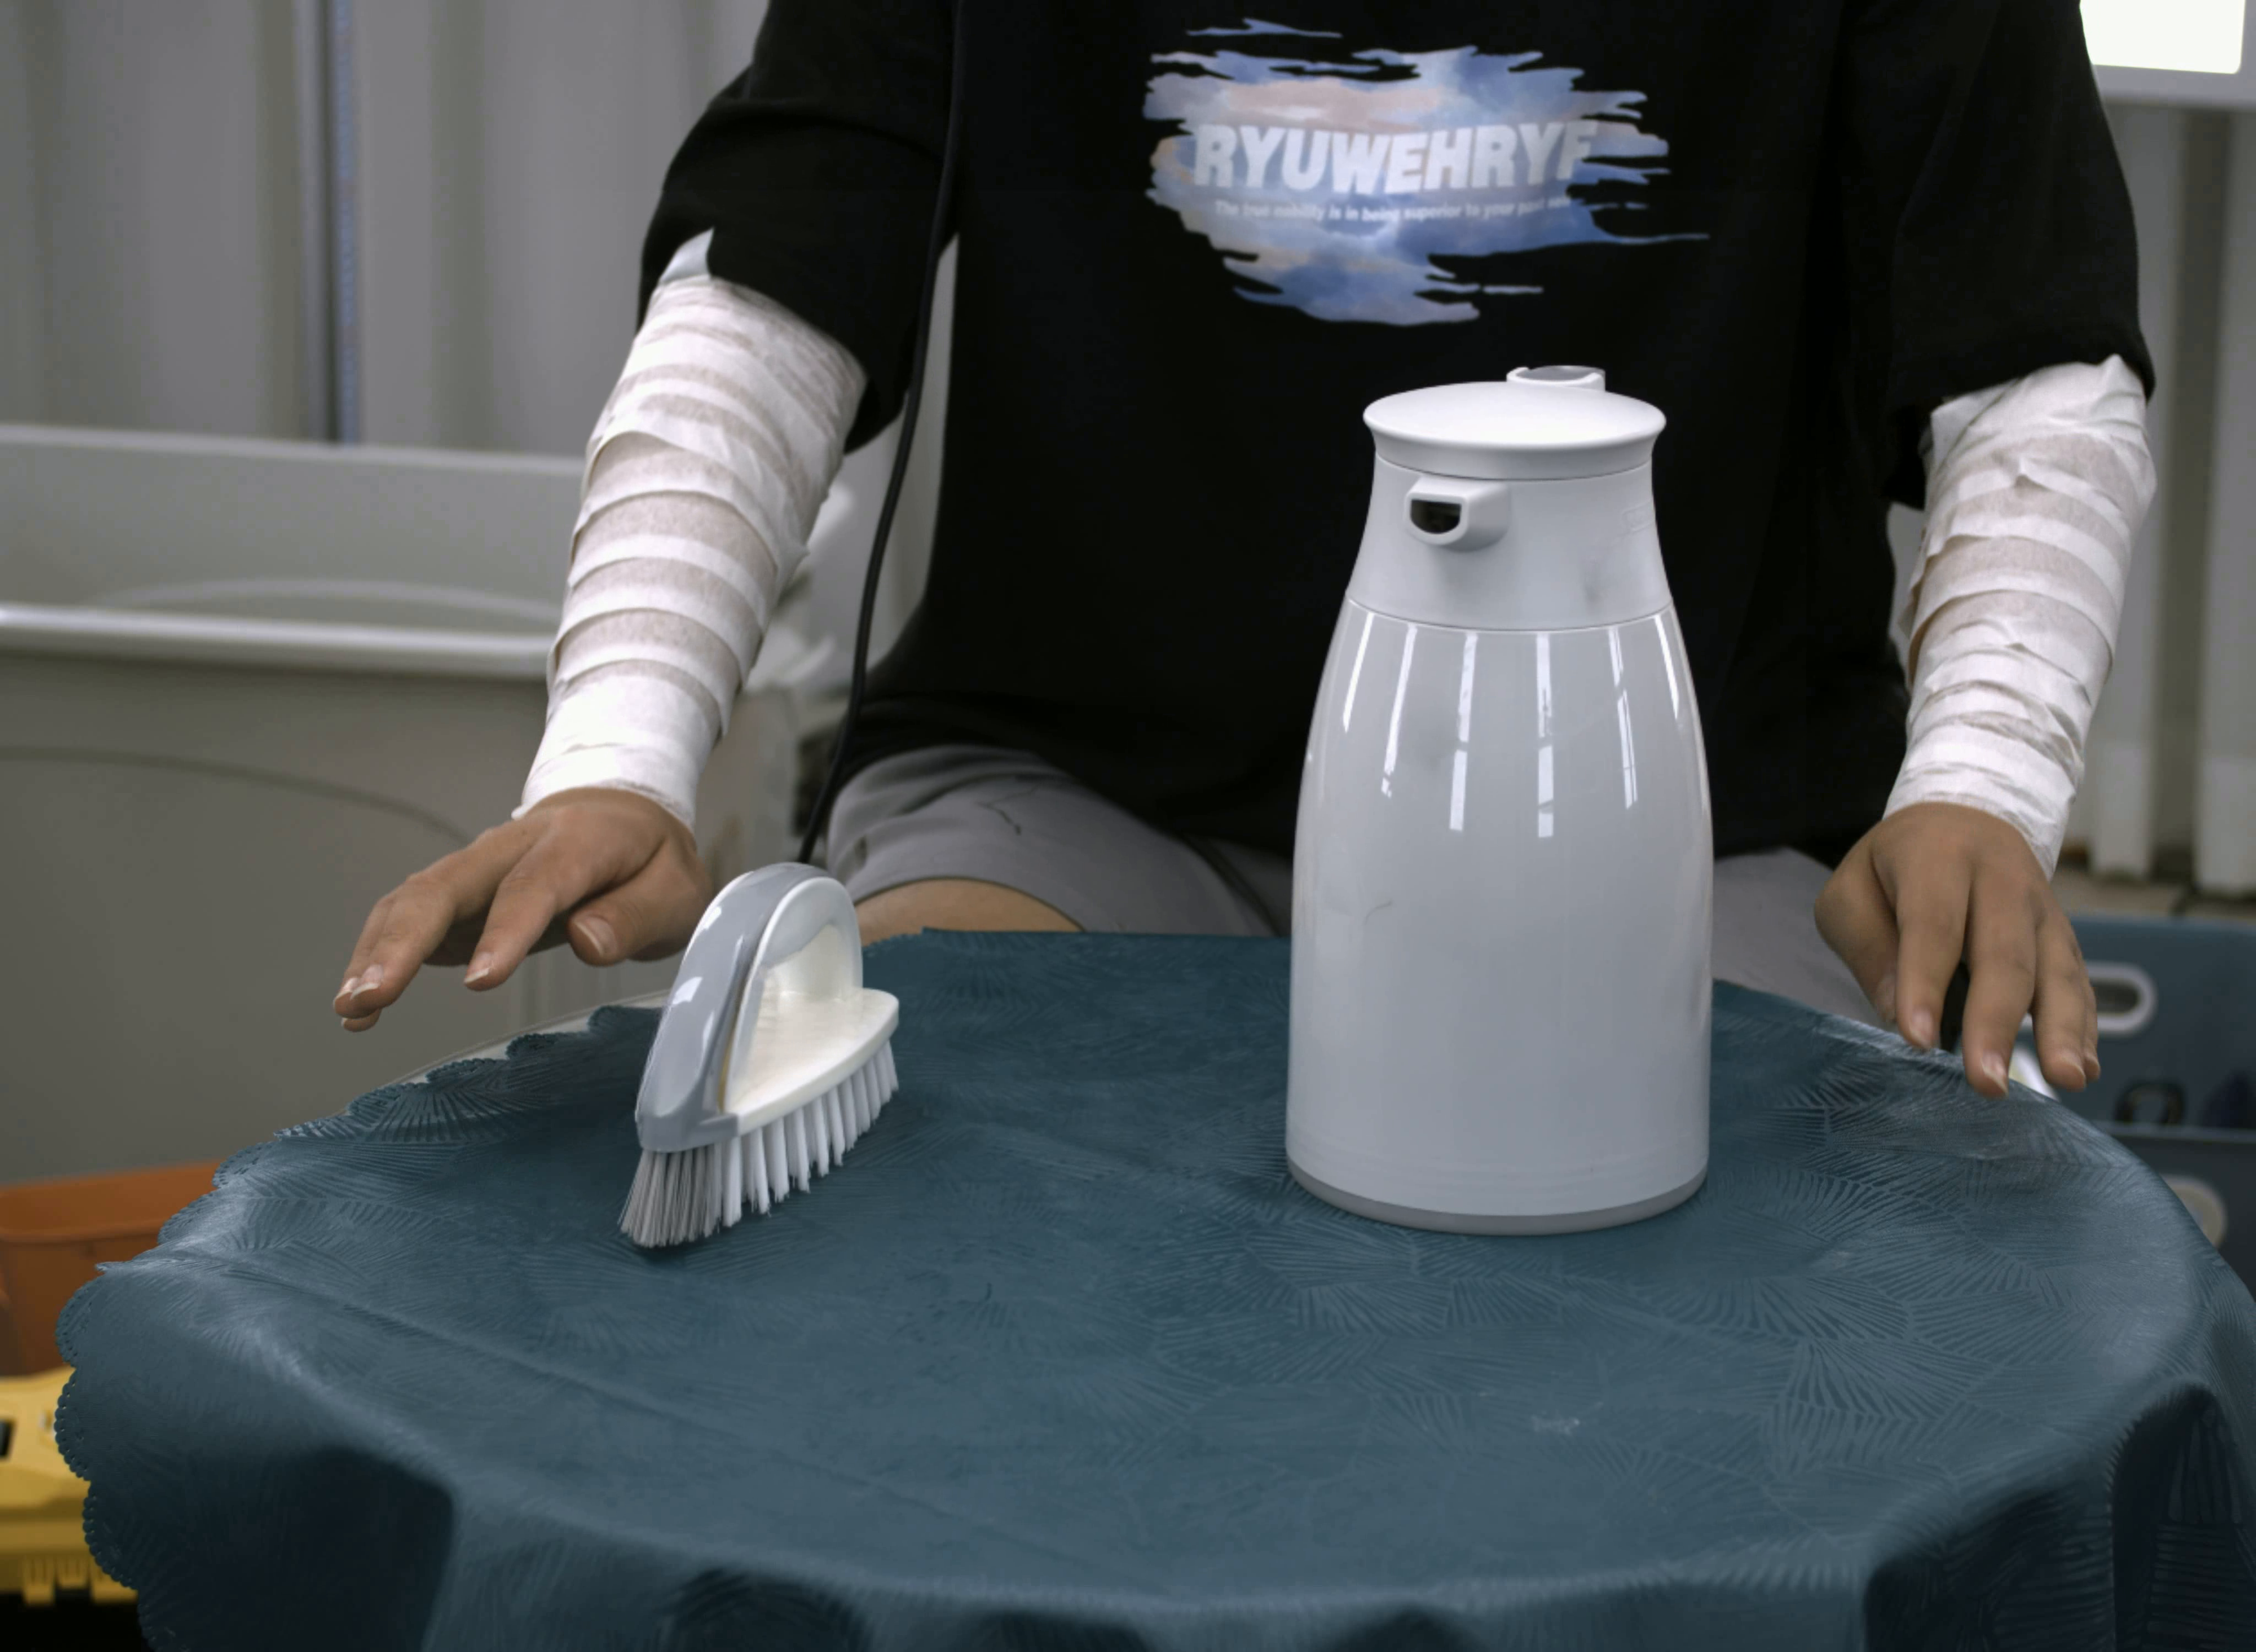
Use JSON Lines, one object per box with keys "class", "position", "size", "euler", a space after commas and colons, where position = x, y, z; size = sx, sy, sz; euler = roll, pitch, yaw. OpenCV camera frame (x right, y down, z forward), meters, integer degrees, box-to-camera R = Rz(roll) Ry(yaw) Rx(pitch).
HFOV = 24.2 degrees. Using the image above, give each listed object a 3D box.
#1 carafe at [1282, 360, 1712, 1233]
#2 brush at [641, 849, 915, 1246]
{"class": "carafe", "position": [0.122, -0.018, 1.633], "size": [0.131, 0.250, 0.168], "euler": [7, 16, 22]}
{"class": "brush", "position": [-0.116, 0.063, 1.624], "size": [0.061, 0.095, 0.175], "euler": [3, 16, 15]}
